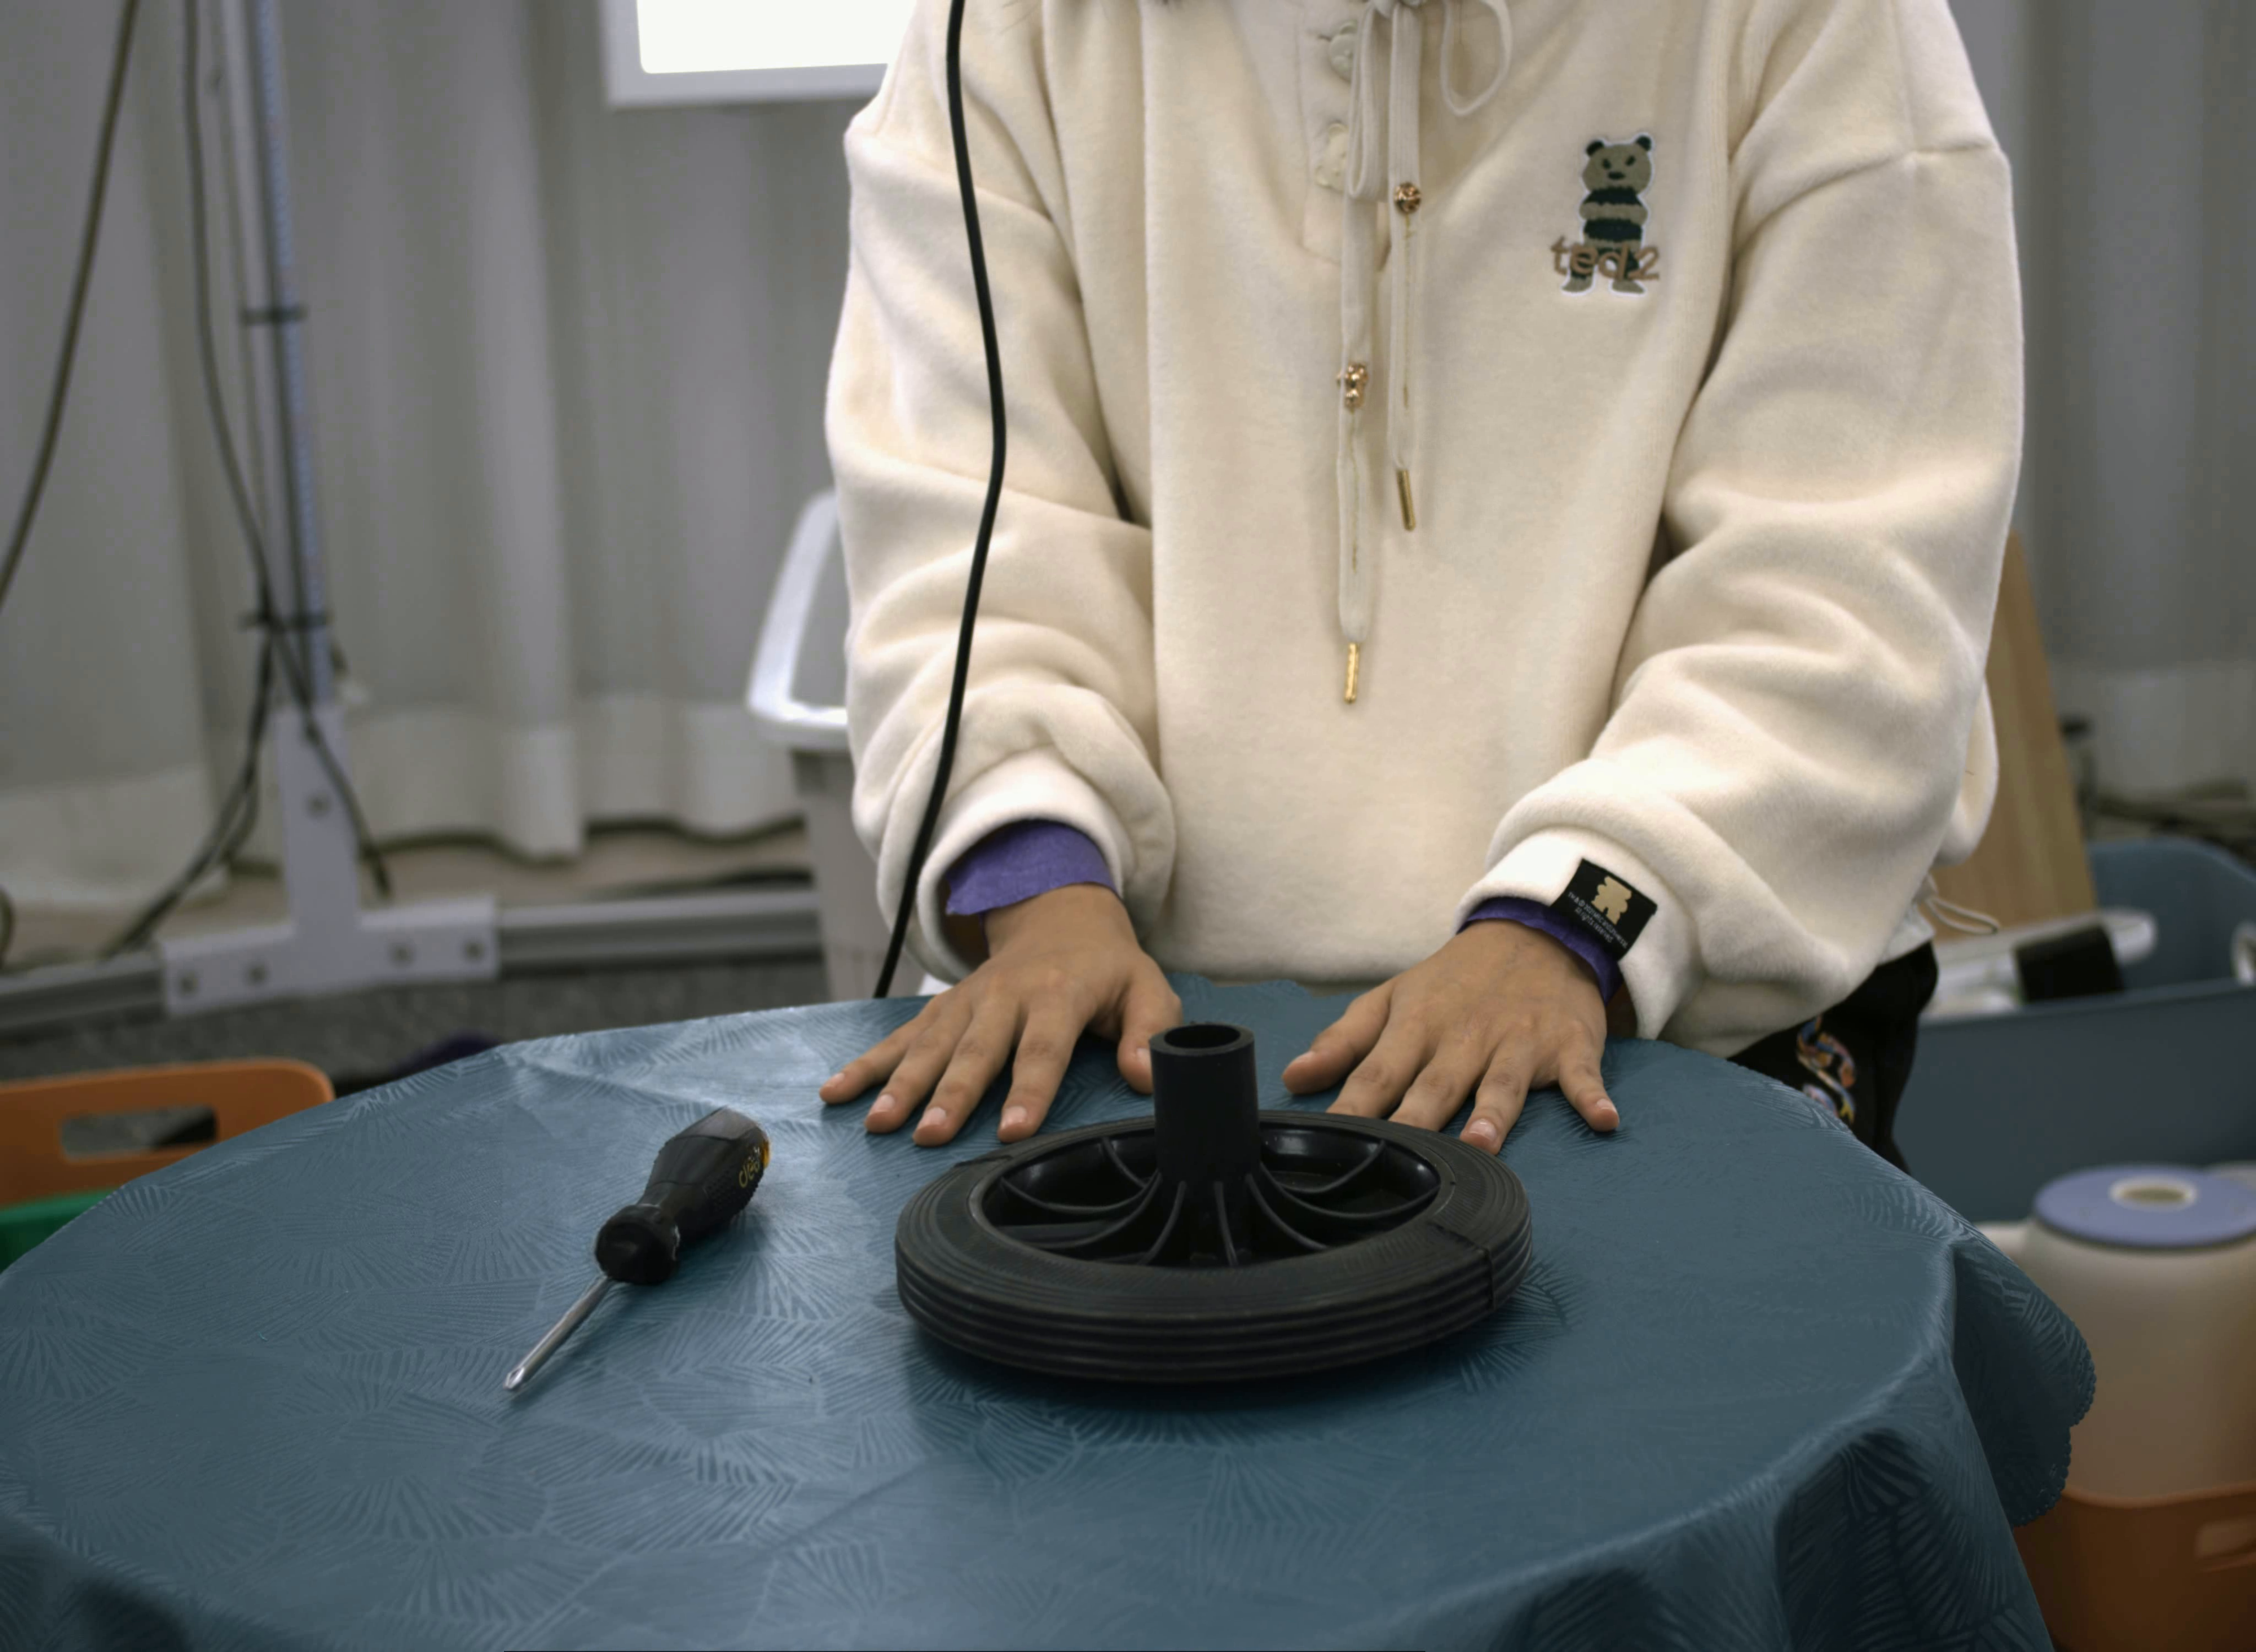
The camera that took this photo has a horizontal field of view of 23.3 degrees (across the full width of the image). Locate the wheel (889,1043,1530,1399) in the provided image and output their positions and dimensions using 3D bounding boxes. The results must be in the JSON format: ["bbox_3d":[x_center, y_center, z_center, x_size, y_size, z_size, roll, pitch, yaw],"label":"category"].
[{"bbox_3d":[0.022,0.106,1.602,0.189,0.079,0.189,-10,16,-20],"label":"wheel"}]

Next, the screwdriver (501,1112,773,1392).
[{"bbox_3d":[-0.146,0.128,1.644,0.031,0.031,0.197,1,17,14],"label":"screwdriver"}]
